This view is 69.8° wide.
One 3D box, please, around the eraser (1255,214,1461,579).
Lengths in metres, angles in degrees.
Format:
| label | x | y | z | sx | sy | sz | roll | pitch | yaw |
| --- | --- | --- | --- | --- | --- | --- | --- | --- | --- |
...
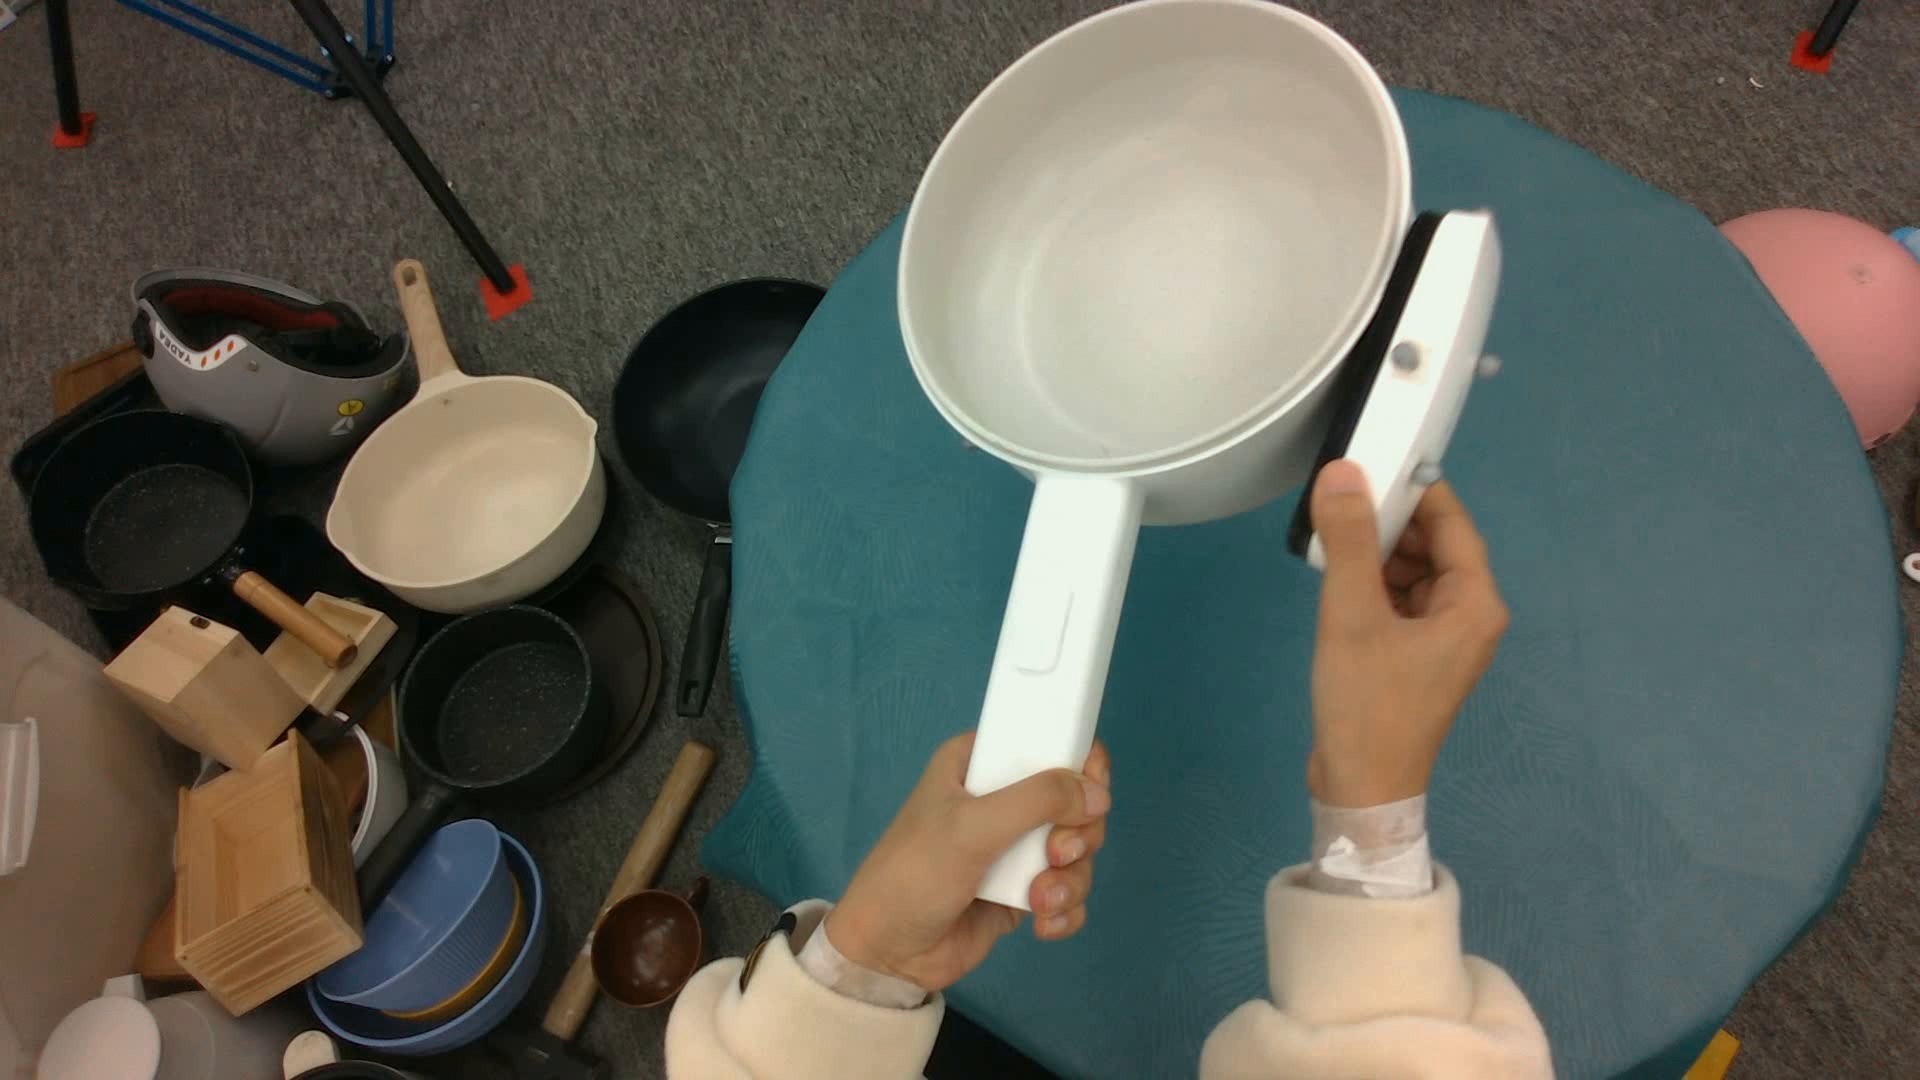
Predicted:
| label | x | y | z | sx | sy | sz | roll | pitch | yaw |
| --- | --- | --- | --- | --- | --- | --- | --- | --- | --- |
| eraser | 0.148 | -0.051 | 0.499 | 0.034 | 0.063 | 0.131 | 21 | 93 | 29 |

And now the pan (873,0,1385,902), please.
| label | x | y | z | sx | sy | sz | roll | pitch | yaw |
| --- | --- | --- | --- | --- | --- | --- | --- | --- | --- |
| pan | 0.059 | -0.037 | 0.552 | 0.201 | 0.102 | 0.355 | 5 | 77 | 27 |
